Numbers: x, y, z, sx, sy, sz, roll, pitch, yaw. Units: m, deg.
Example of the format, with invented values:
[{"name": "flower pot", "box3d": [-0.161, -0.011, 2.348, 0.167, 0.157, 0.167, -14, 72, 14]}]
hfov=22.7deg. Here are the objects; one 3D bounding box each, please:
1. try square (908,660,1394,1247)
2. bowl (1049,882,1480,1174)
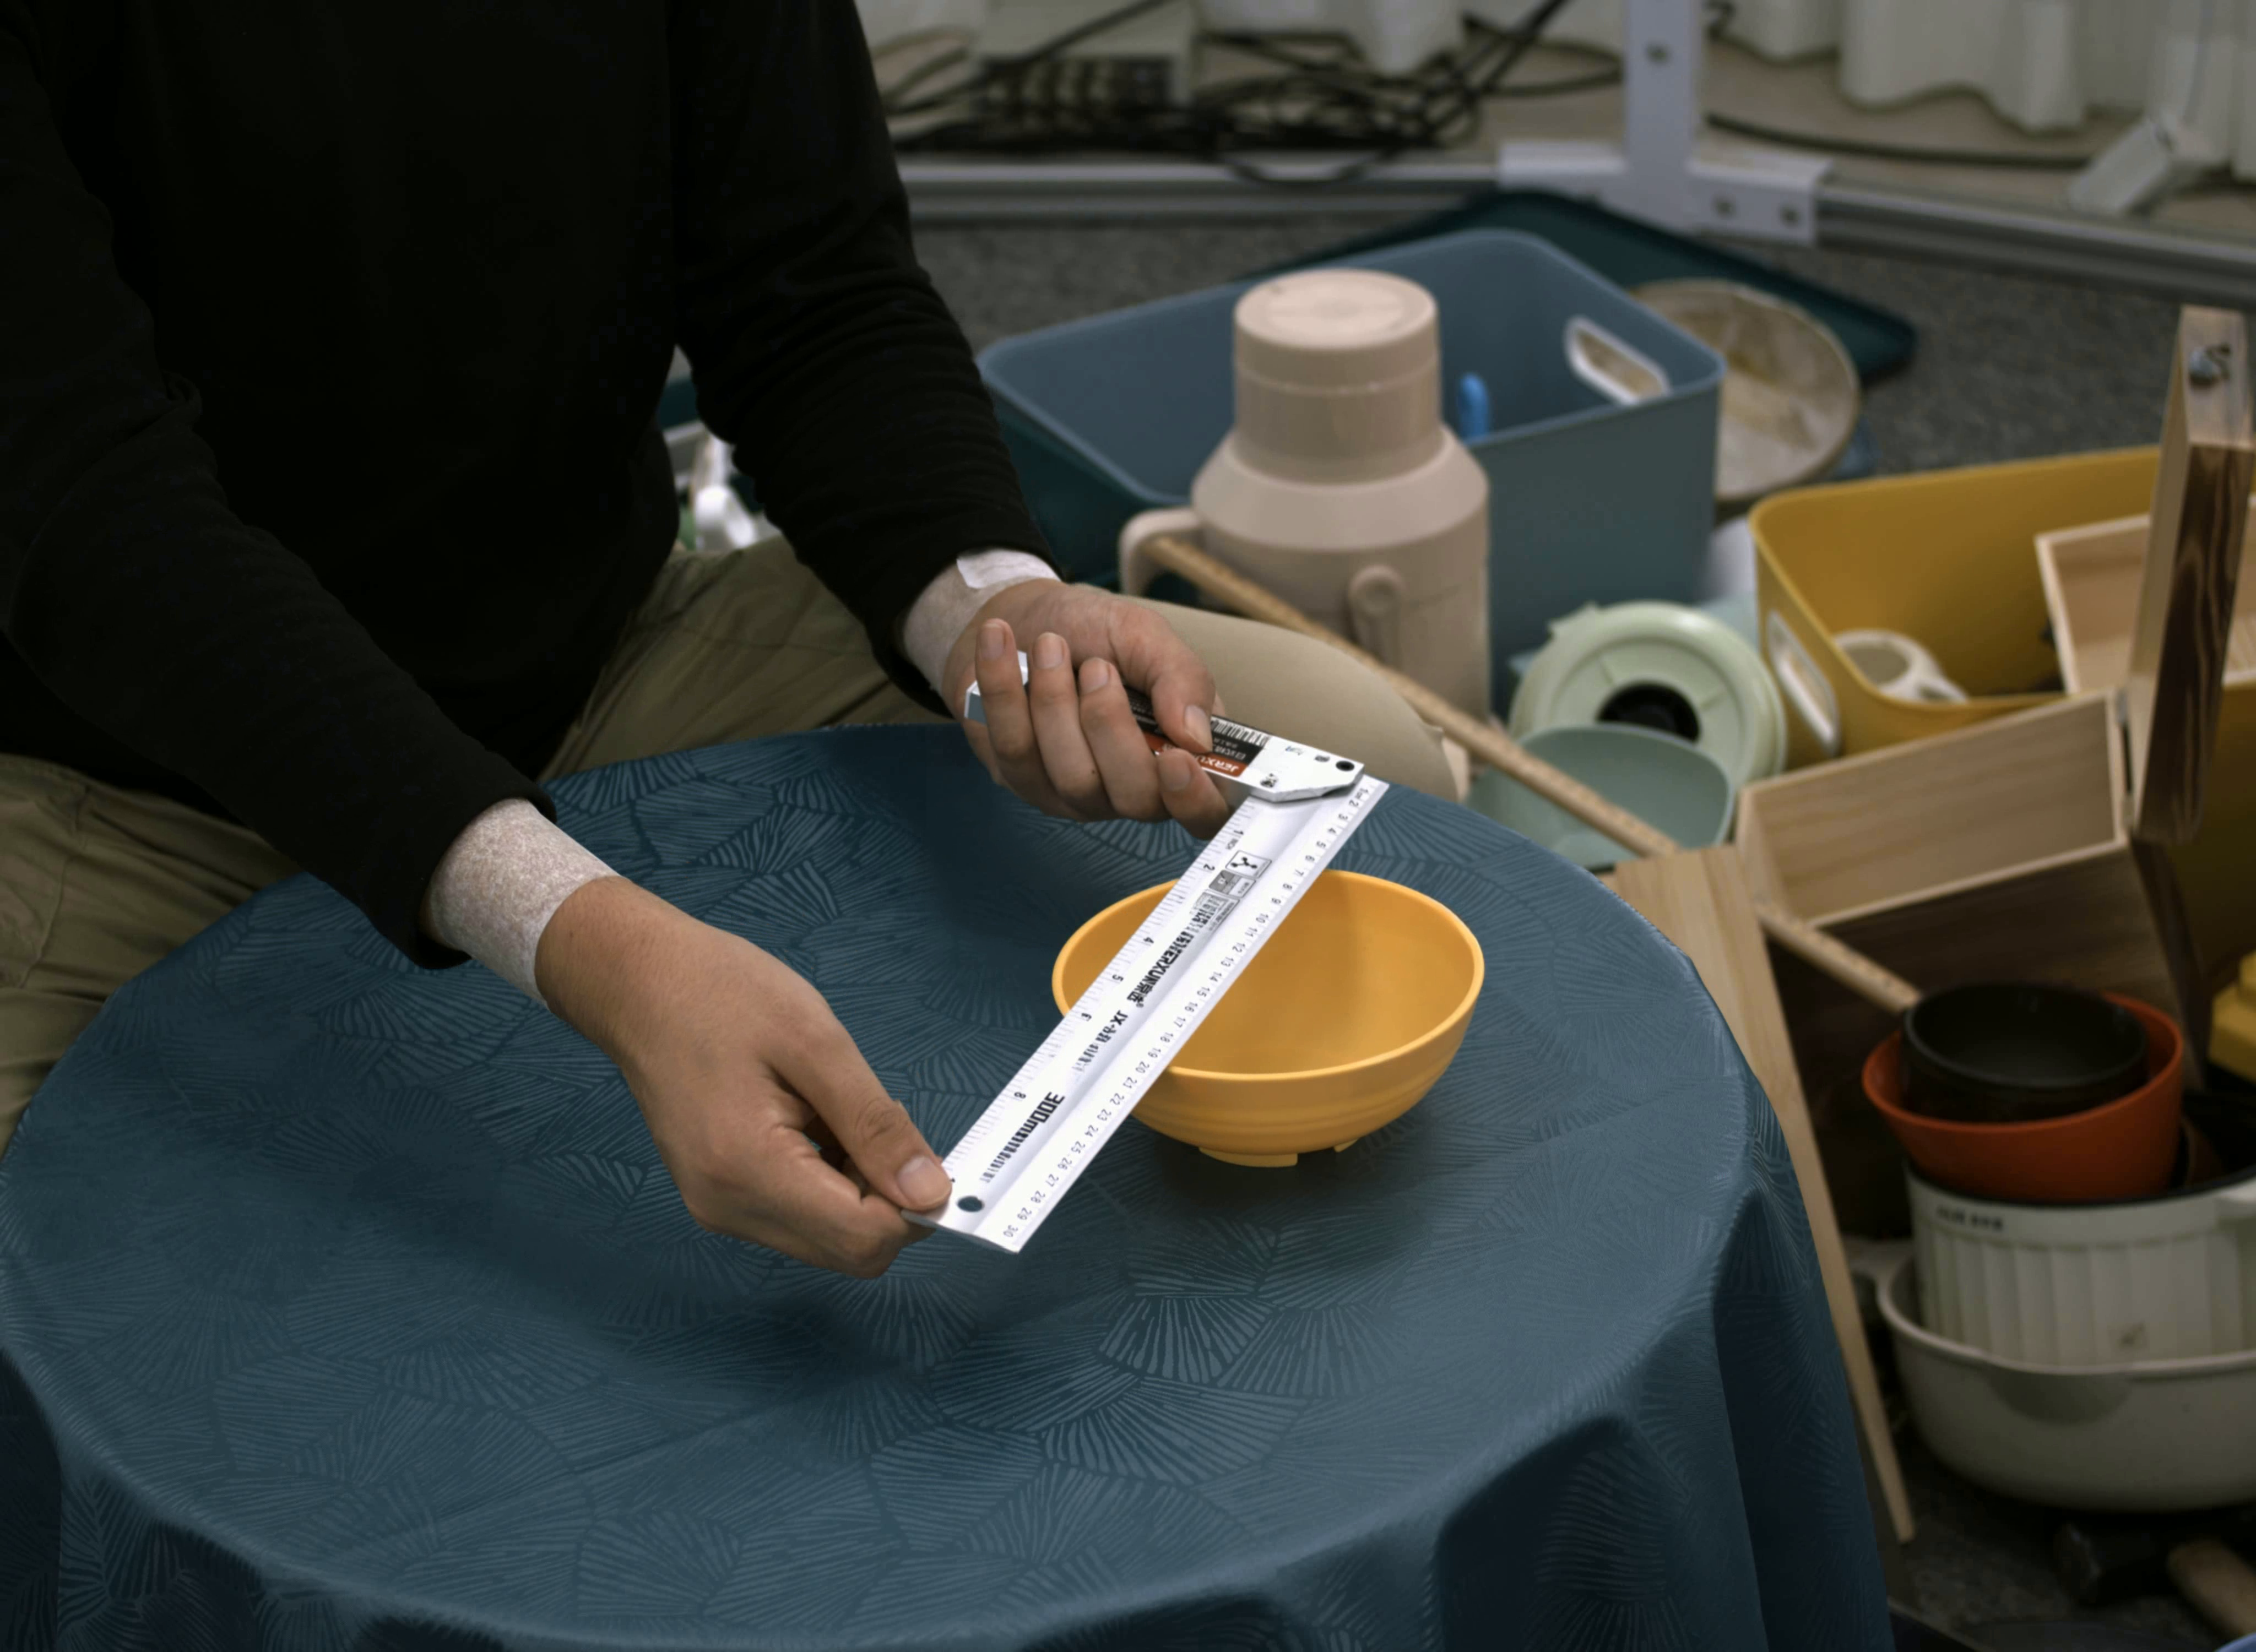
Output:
[{"name": "try square", "box3d": [-0.037, 0.037, 1.873, 0.151, 0.015, 0.318, 16, 34, 18]}, {"name": "bowl", "box3d": [0.046, 0.075, 1.887, 0.144, 0.059, 0.147, -2, 24, 1]}]
